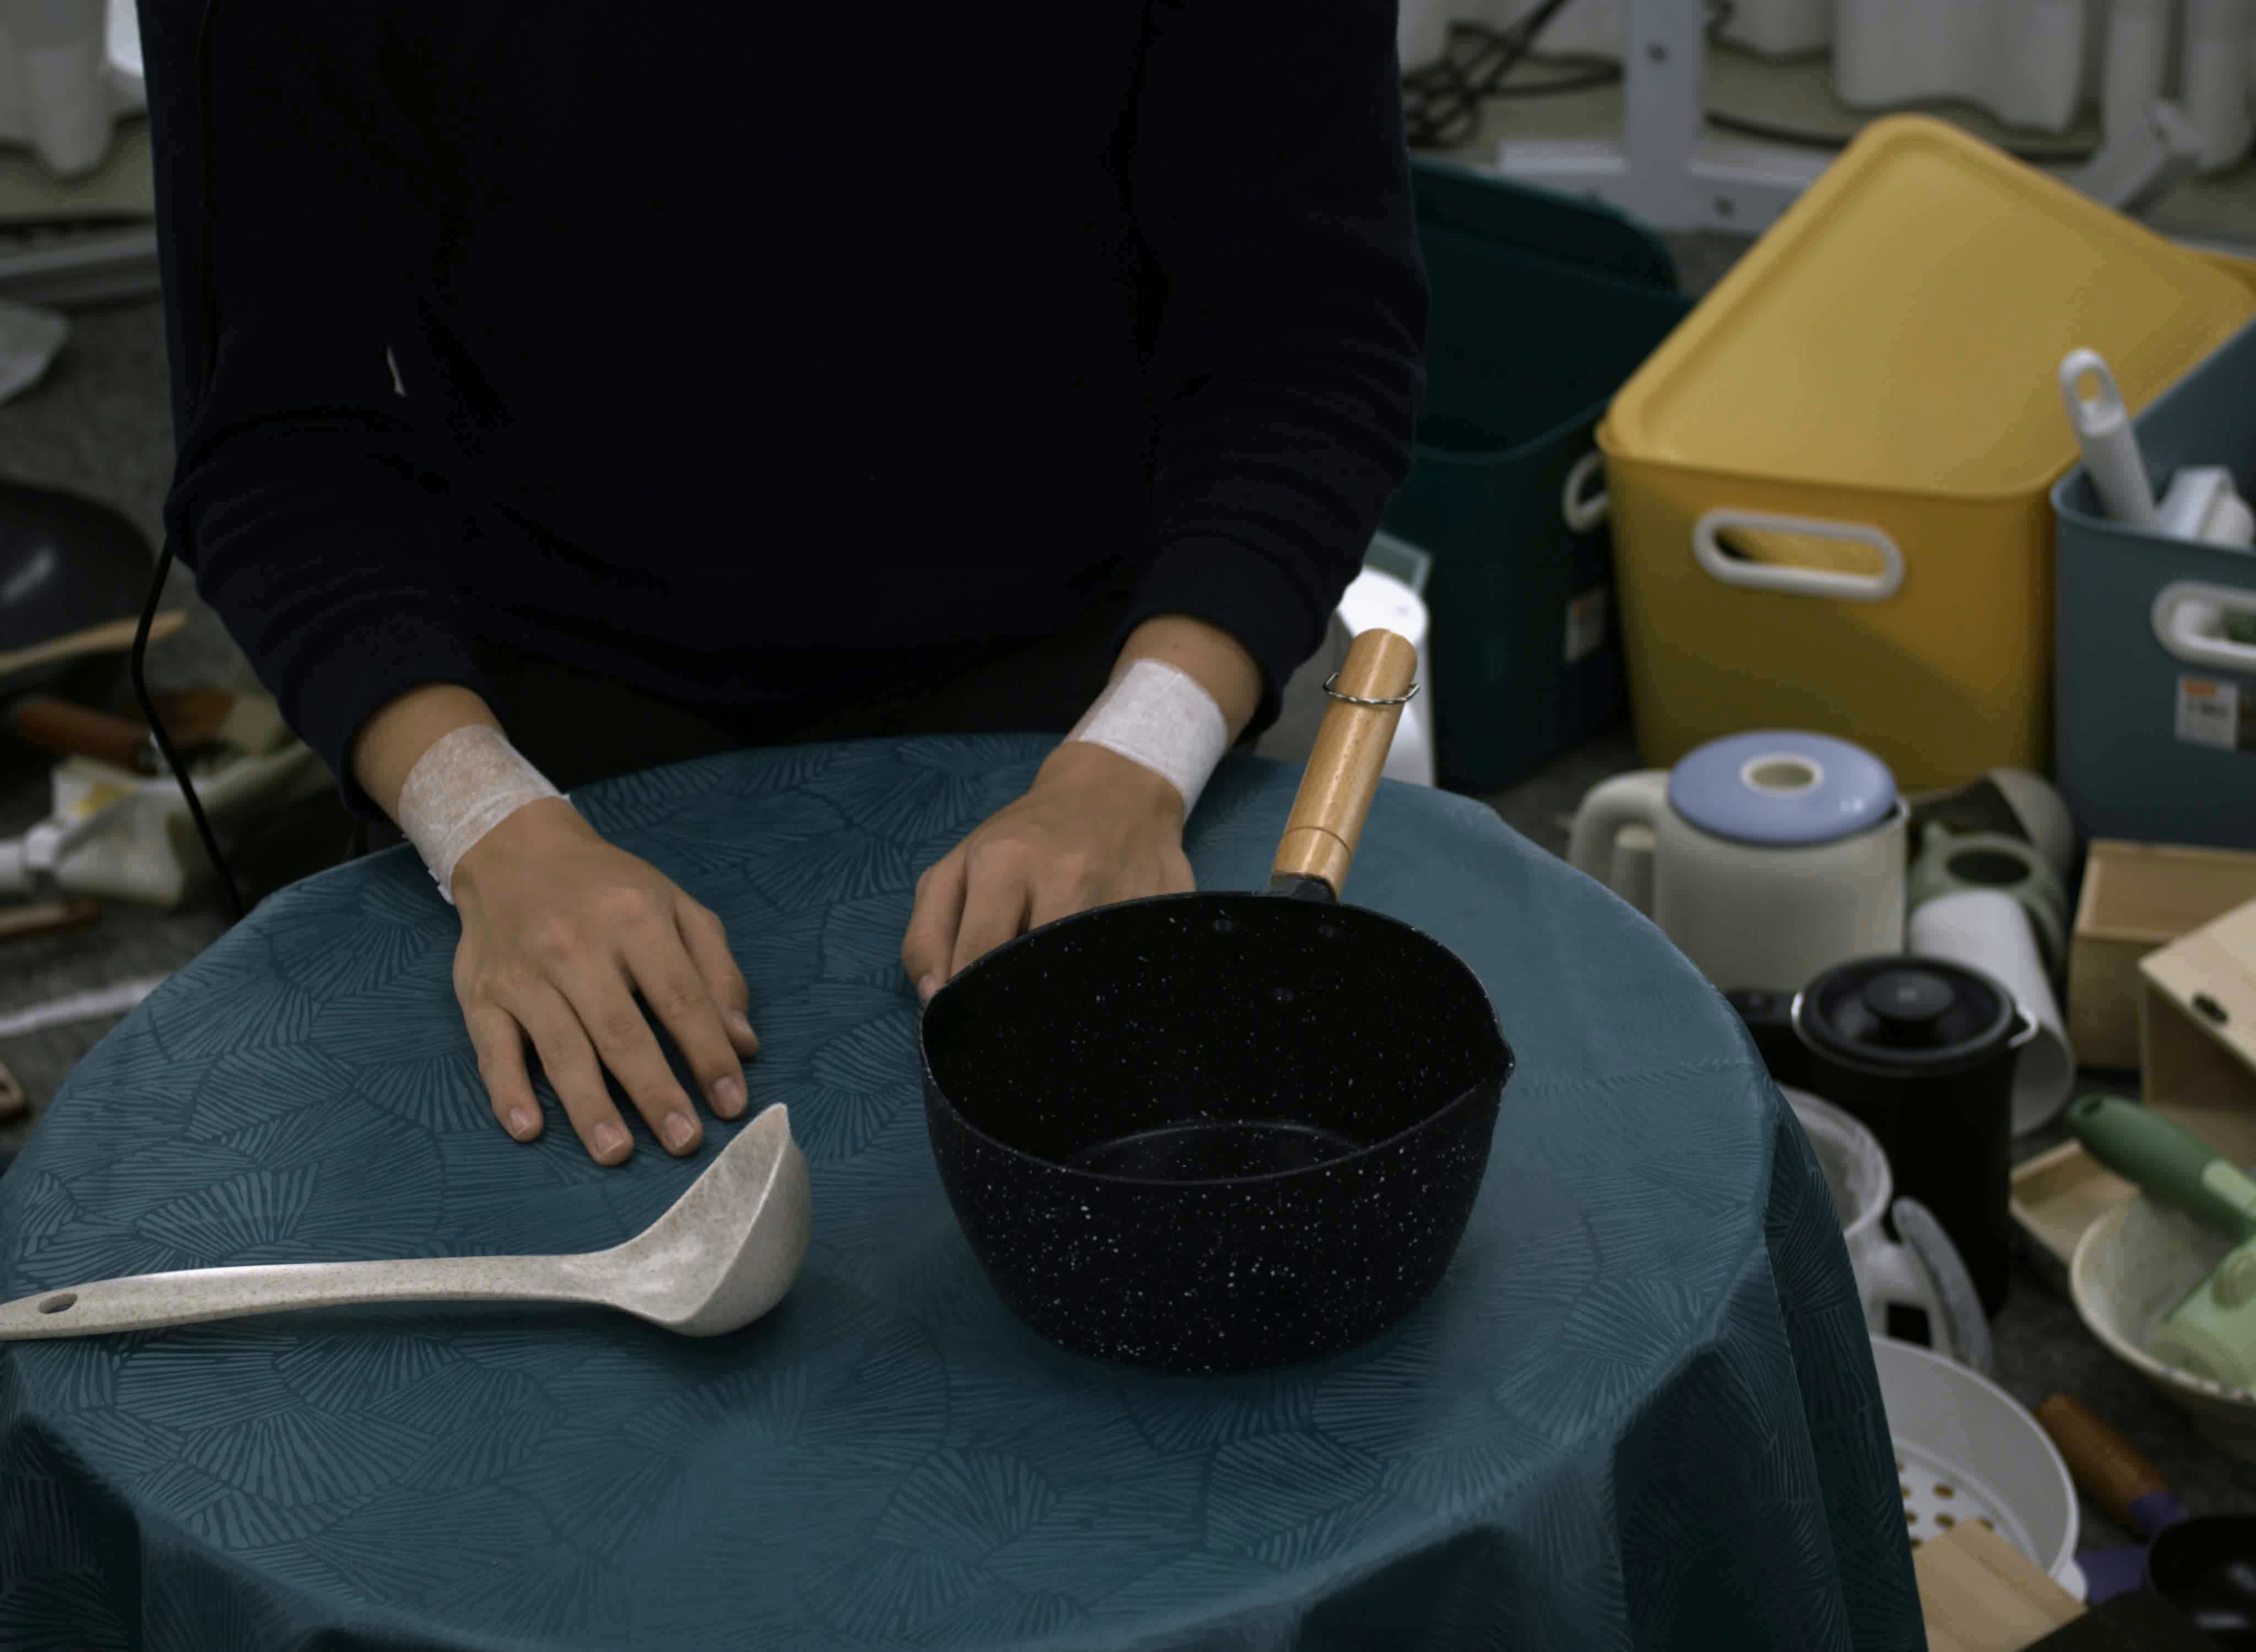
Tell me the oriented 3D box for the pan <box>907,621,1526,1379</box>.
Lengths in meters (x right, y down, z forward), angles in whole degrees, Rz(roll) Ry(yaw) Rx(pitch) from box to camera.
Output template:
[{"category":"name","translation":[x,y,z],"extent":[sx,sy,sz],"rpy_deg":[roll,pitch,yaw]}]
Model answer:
[{"category":"pan","translation":[0.047,0.054,1.872],"extent":[0.206,0.107,0.349],"rpy_deg":[3,29,14]}]

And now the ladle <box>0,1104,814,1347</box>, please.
[{"category":"ladle","translation":[-0.236,0.131,1.797],"extent":[0.273,0.068,0.091],"rpy_deg":[-2,34,3]}]
